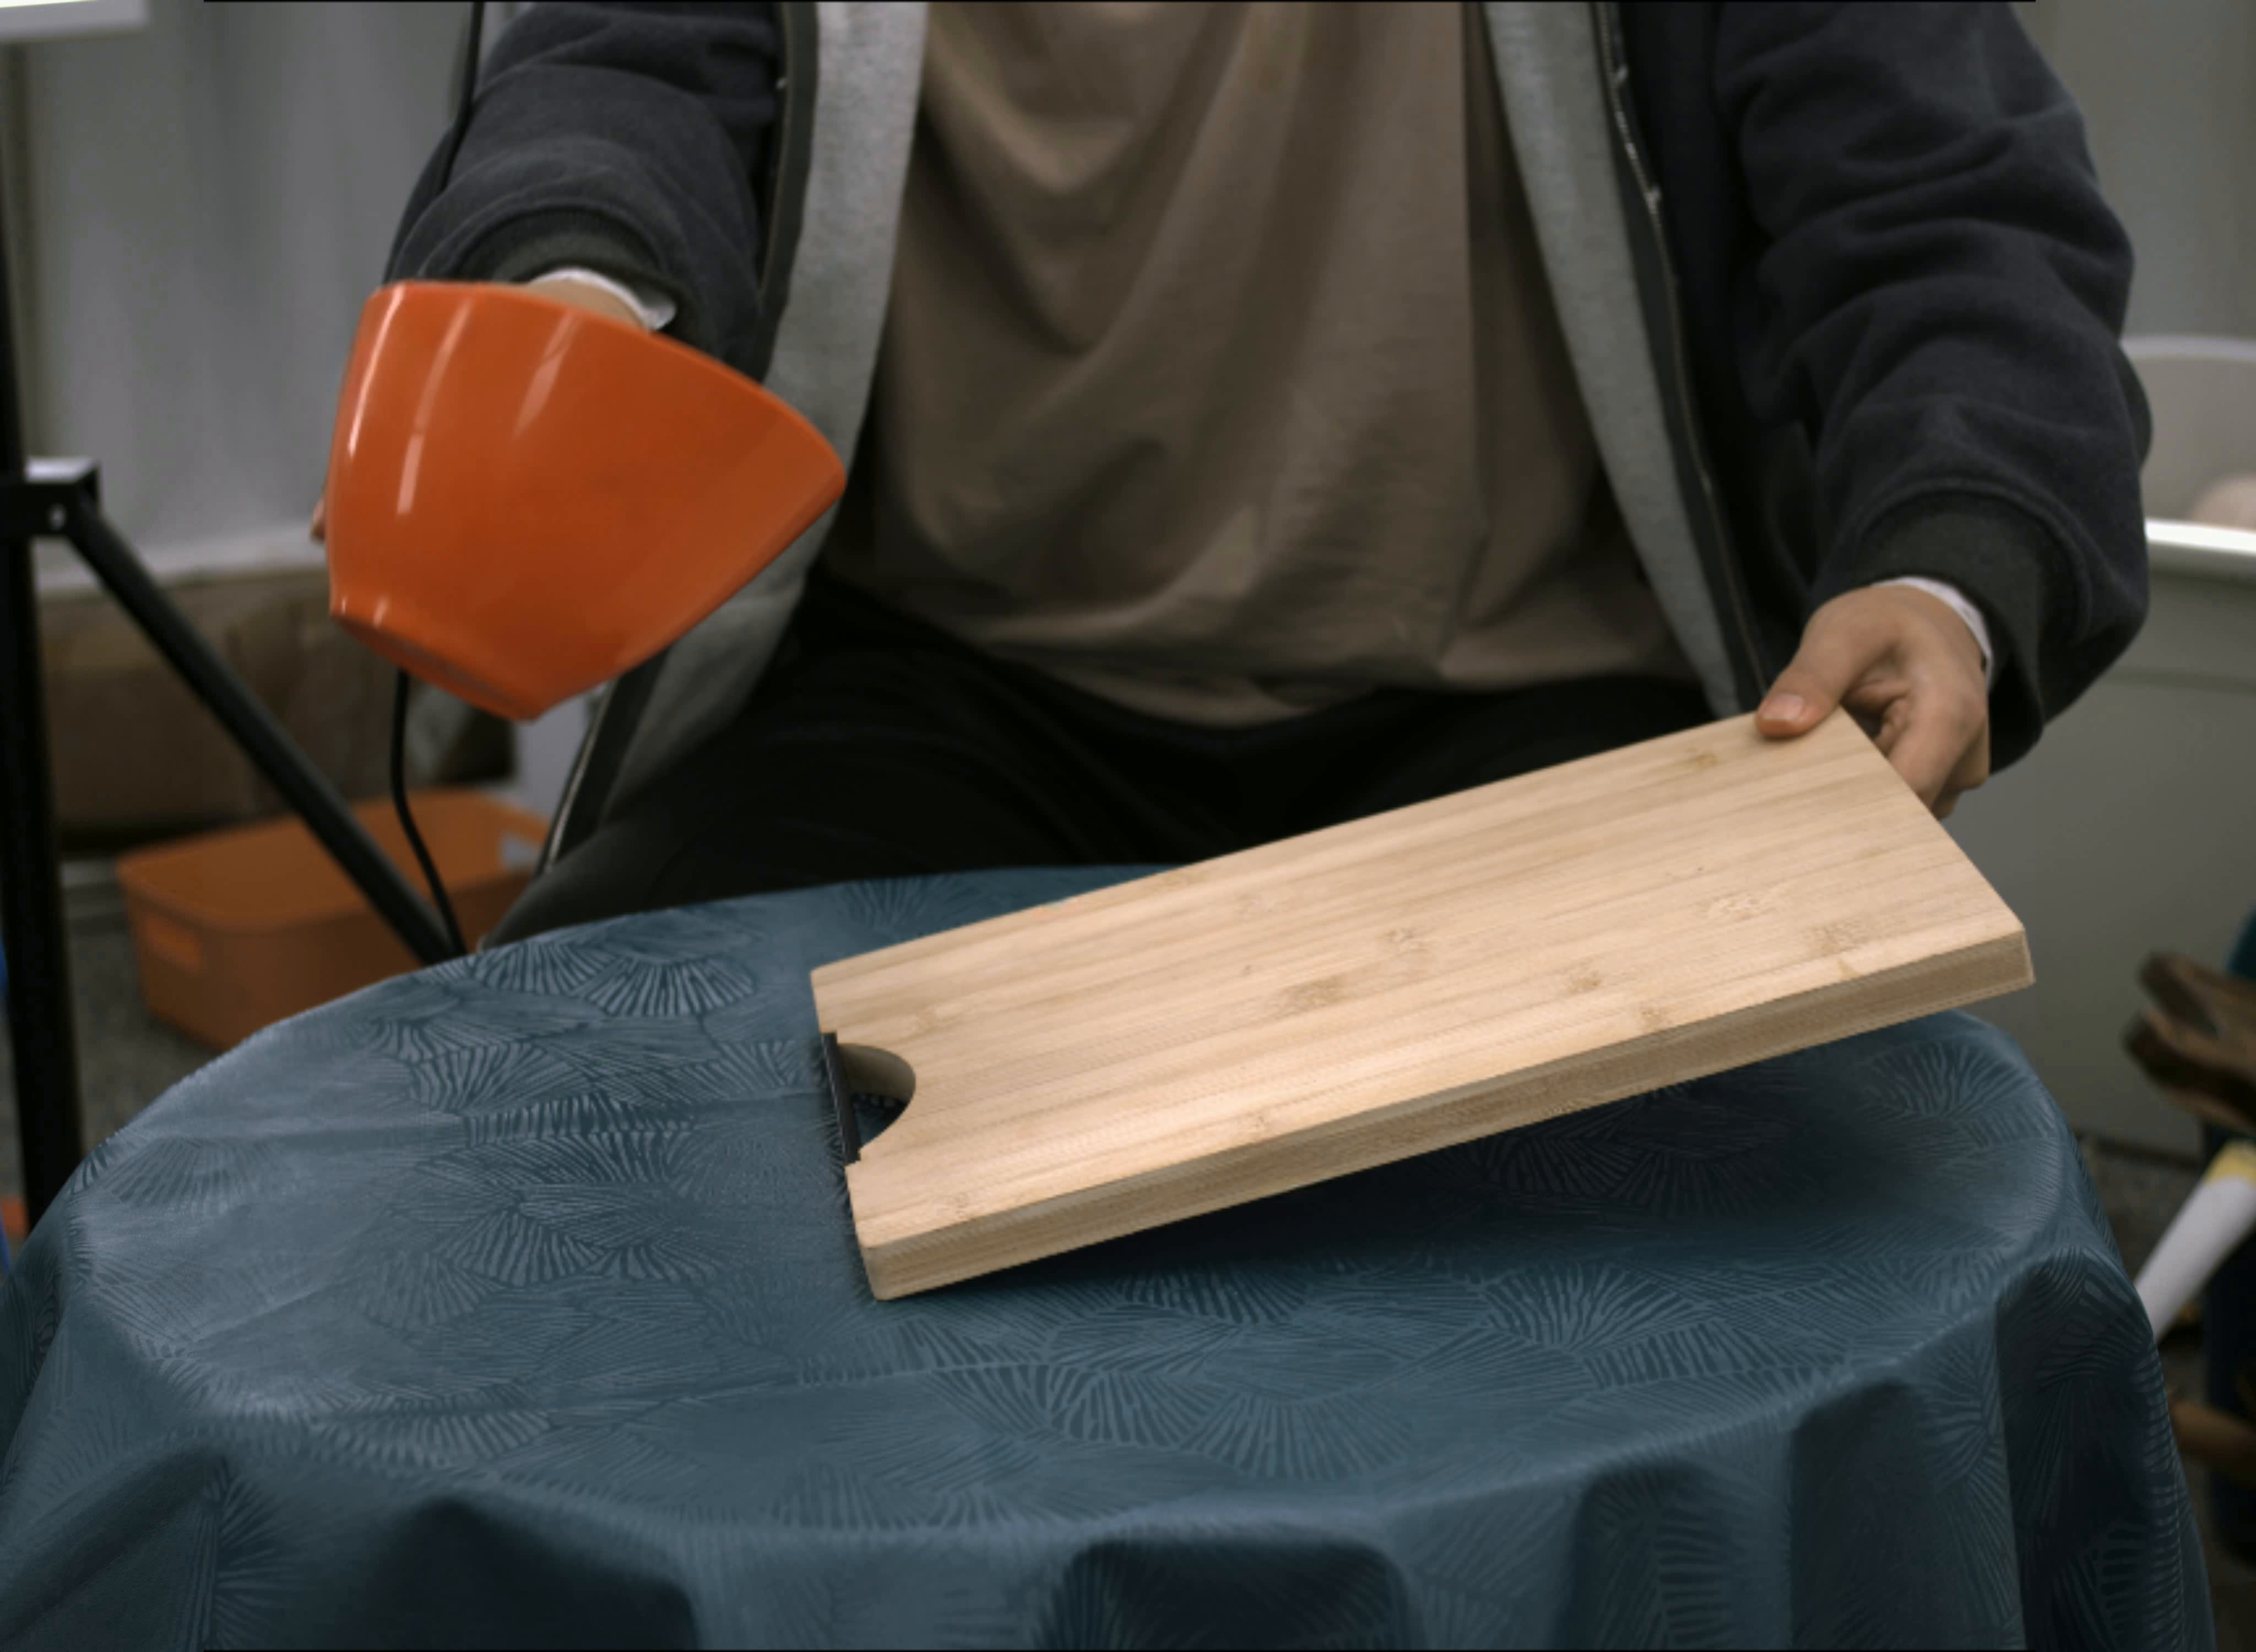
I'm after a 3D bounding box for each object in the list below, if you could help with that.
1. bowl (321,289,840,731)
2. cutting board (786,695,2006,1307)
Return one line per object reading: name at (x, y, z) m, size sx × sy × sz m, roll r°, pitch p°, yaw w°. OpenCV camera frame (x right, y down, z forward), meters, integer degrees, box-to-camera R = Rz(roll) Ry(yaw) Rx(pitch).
bowl at (-0.171, -0.085, 1.541) m, size 0.148 × 0.105 × 0.148 m, roll 26°, pitch -8°, yaw 2°
cutting board at (0.071, 0.048, 1.594) m, size 0.347 × 0.023 × 0.253 m, roll -15°, pitch 18°, yaw -1°
